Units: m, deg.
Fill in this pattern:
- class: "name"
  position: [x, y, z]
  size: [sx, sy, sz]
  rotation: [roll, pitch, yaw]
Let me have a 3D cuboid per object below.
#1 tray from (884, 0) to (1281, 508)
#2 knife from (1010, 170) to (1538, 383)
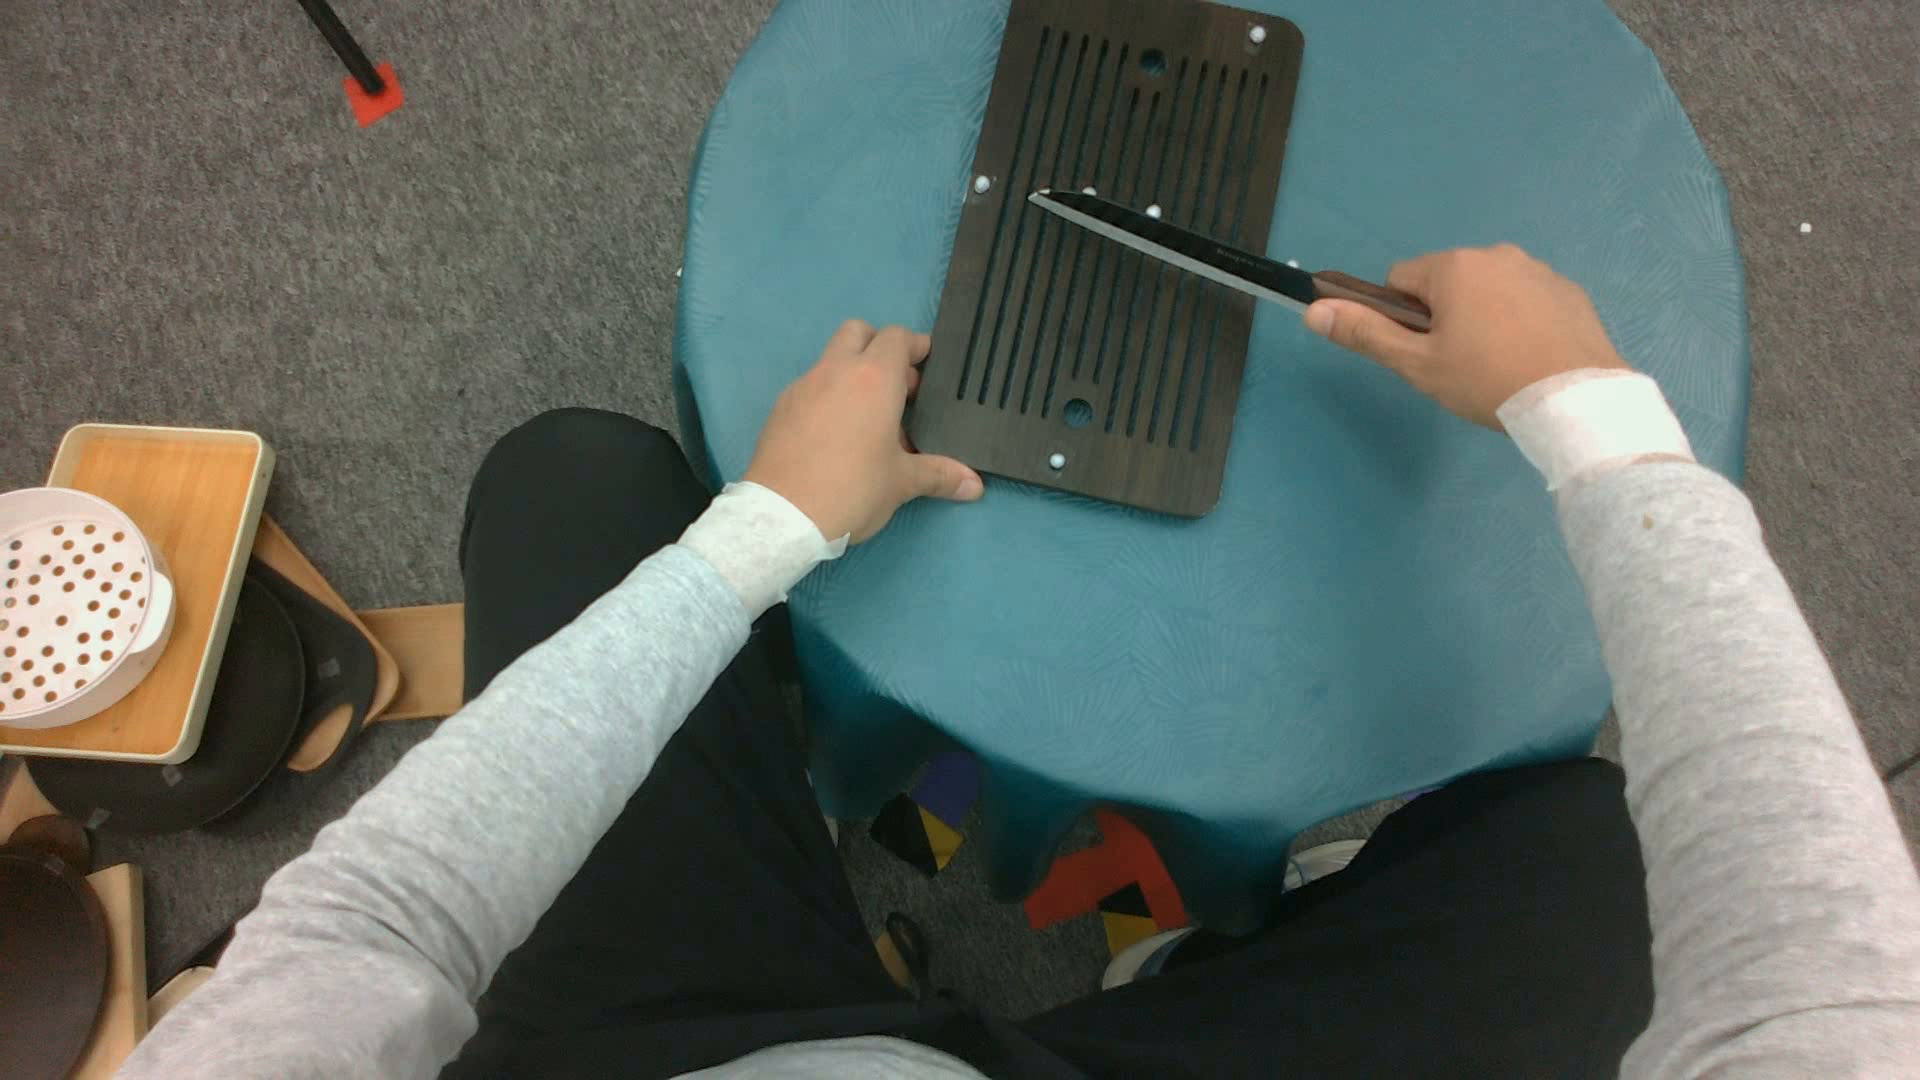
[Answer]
- class: "tray"
  position: [0.072, -0.176, 0.766]
  size: [0.170, 0.018, 0.306]
  rotation: [13, 76, 0]
- class: "knife"
  position: [0.154, -0.141, 0.715]
  size: [0.289, 0.050, 0.020]
  rotation: [24, 75, 15]
